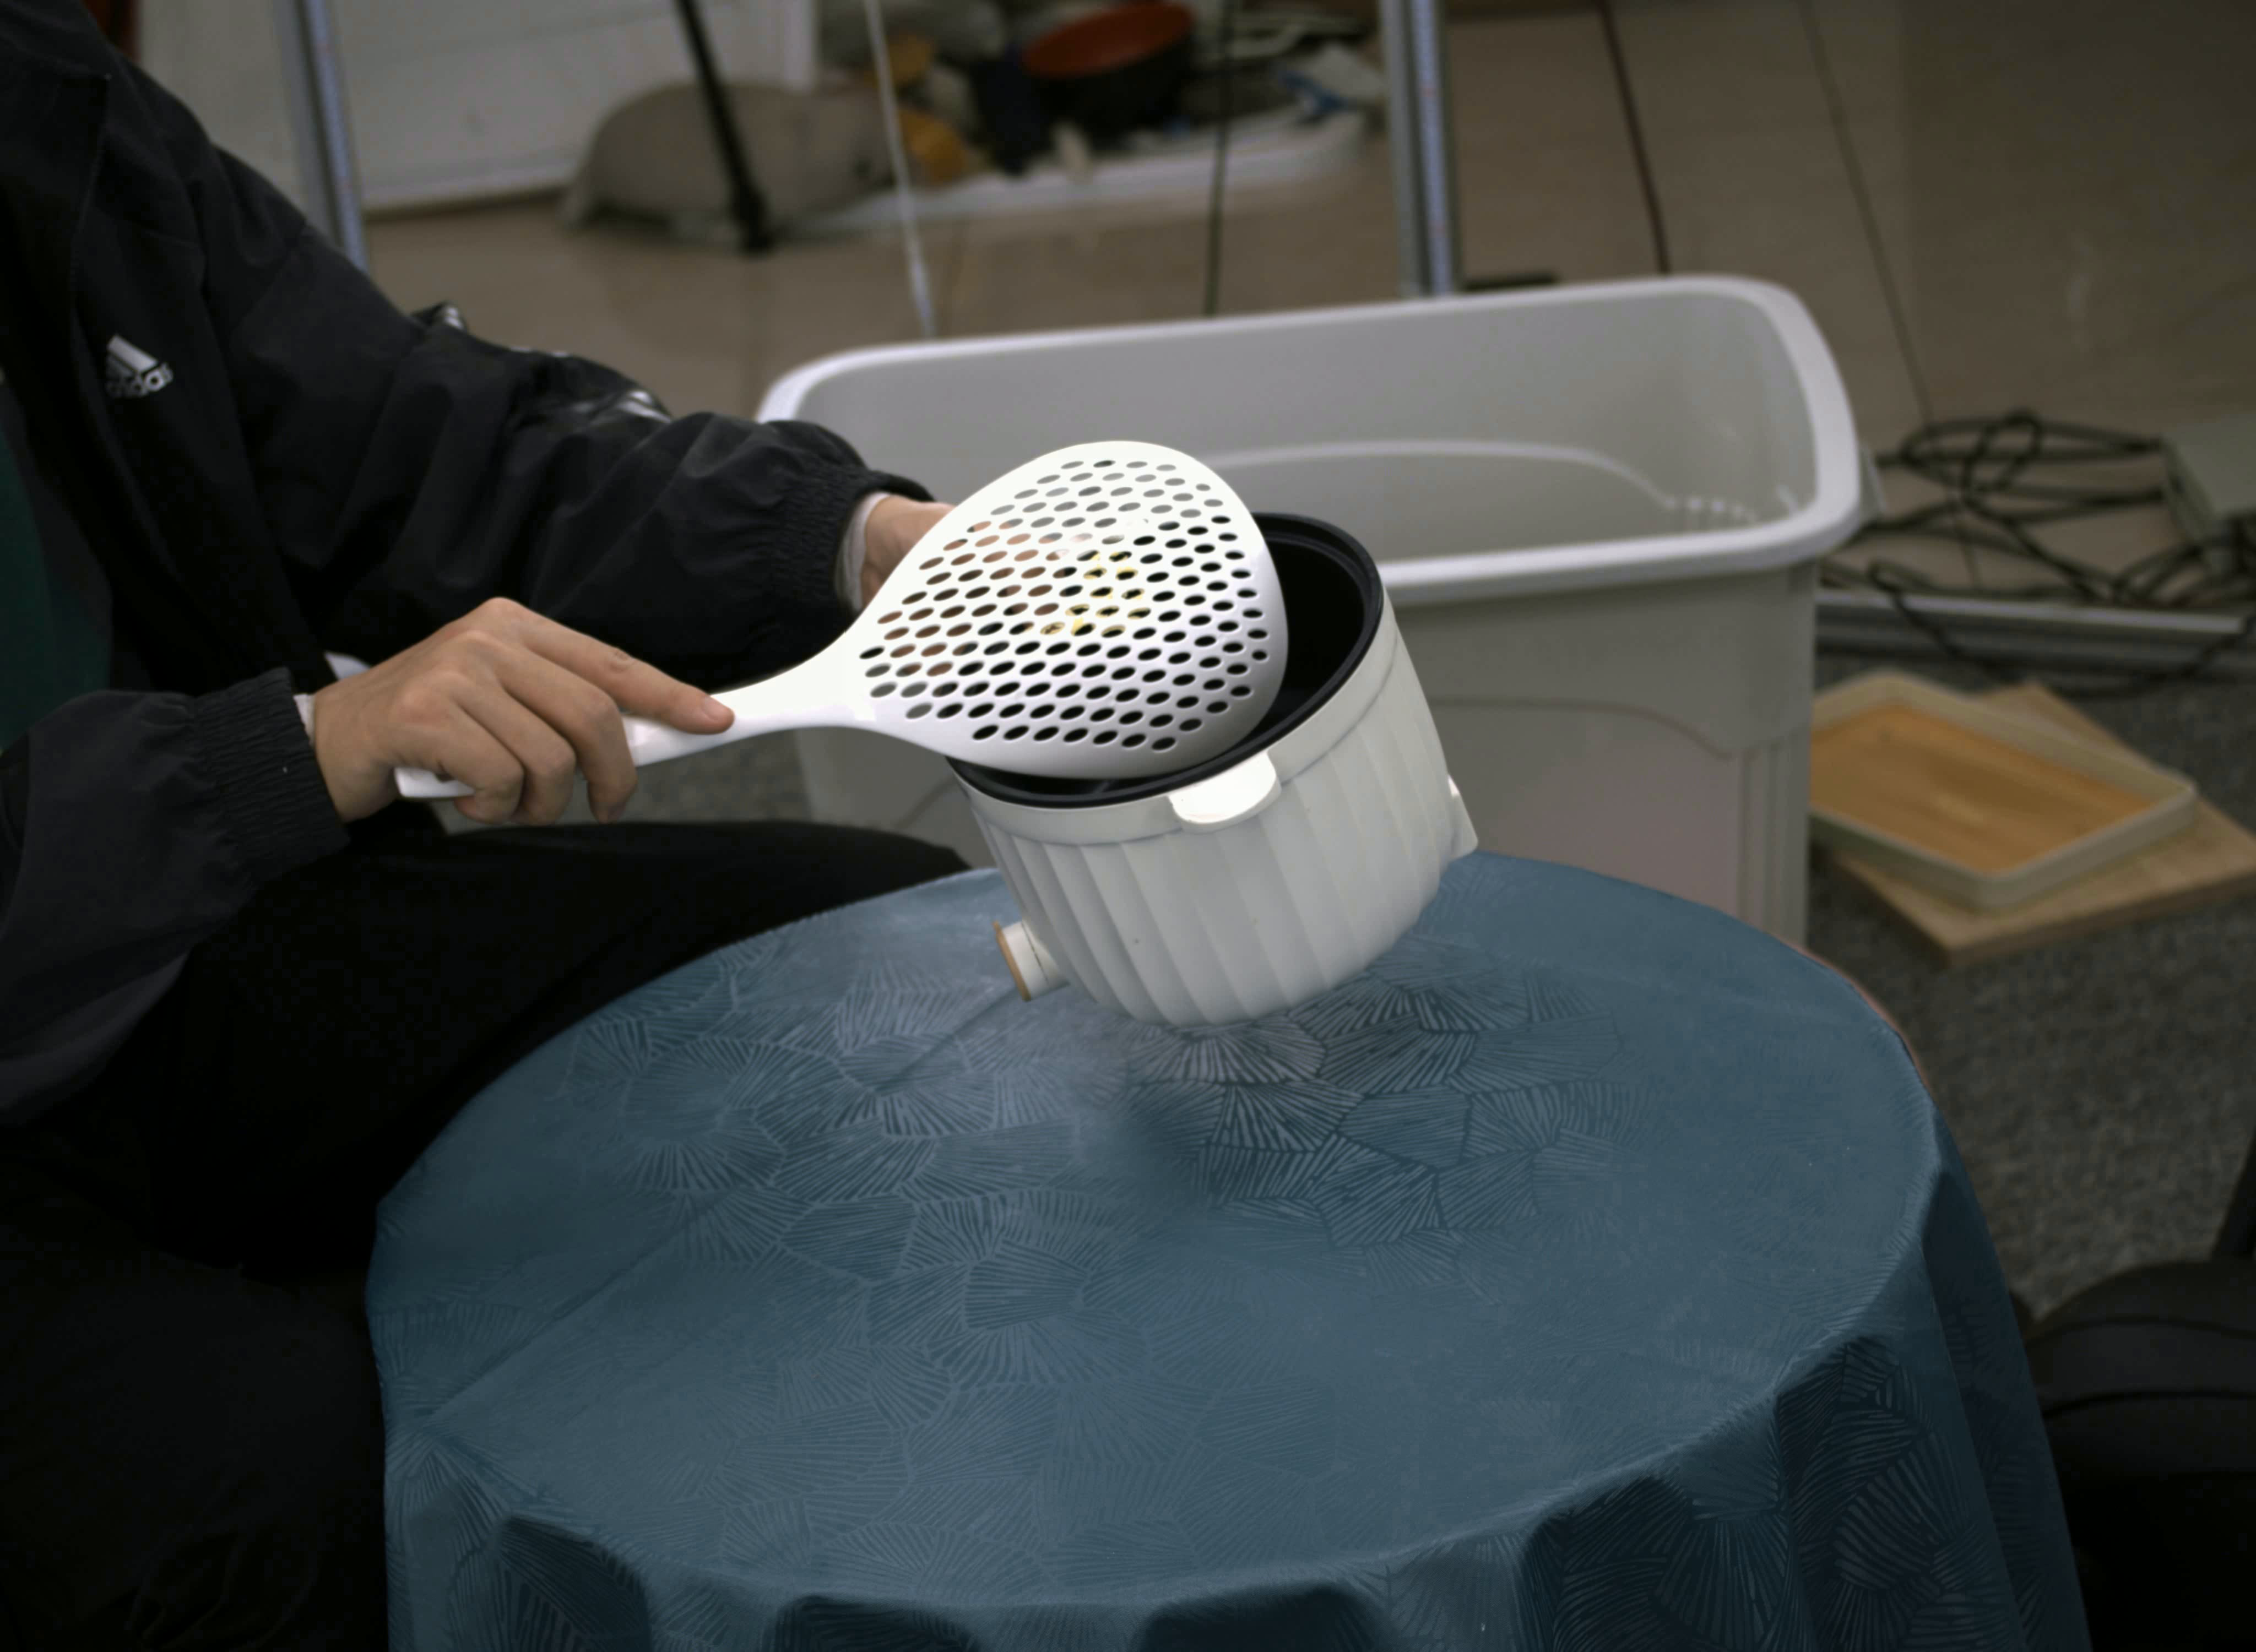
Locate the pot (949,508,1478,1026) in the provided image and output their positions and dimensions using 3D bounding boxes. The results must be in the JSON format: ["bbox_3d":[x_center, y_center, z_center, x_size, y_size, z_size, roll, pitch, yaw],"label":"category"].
[{"bbox_3d":[0.029,-0.013,2.193,0.190,0.145,0.236,-21,33,-3],"label":"pot"}]

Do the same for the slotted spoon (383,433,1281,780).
[{"bbox_3d":[-0.109,-0.059,2.134,0.347,0.136,0.050,-16,-7,-8],"label":"slotted spoon"}]
